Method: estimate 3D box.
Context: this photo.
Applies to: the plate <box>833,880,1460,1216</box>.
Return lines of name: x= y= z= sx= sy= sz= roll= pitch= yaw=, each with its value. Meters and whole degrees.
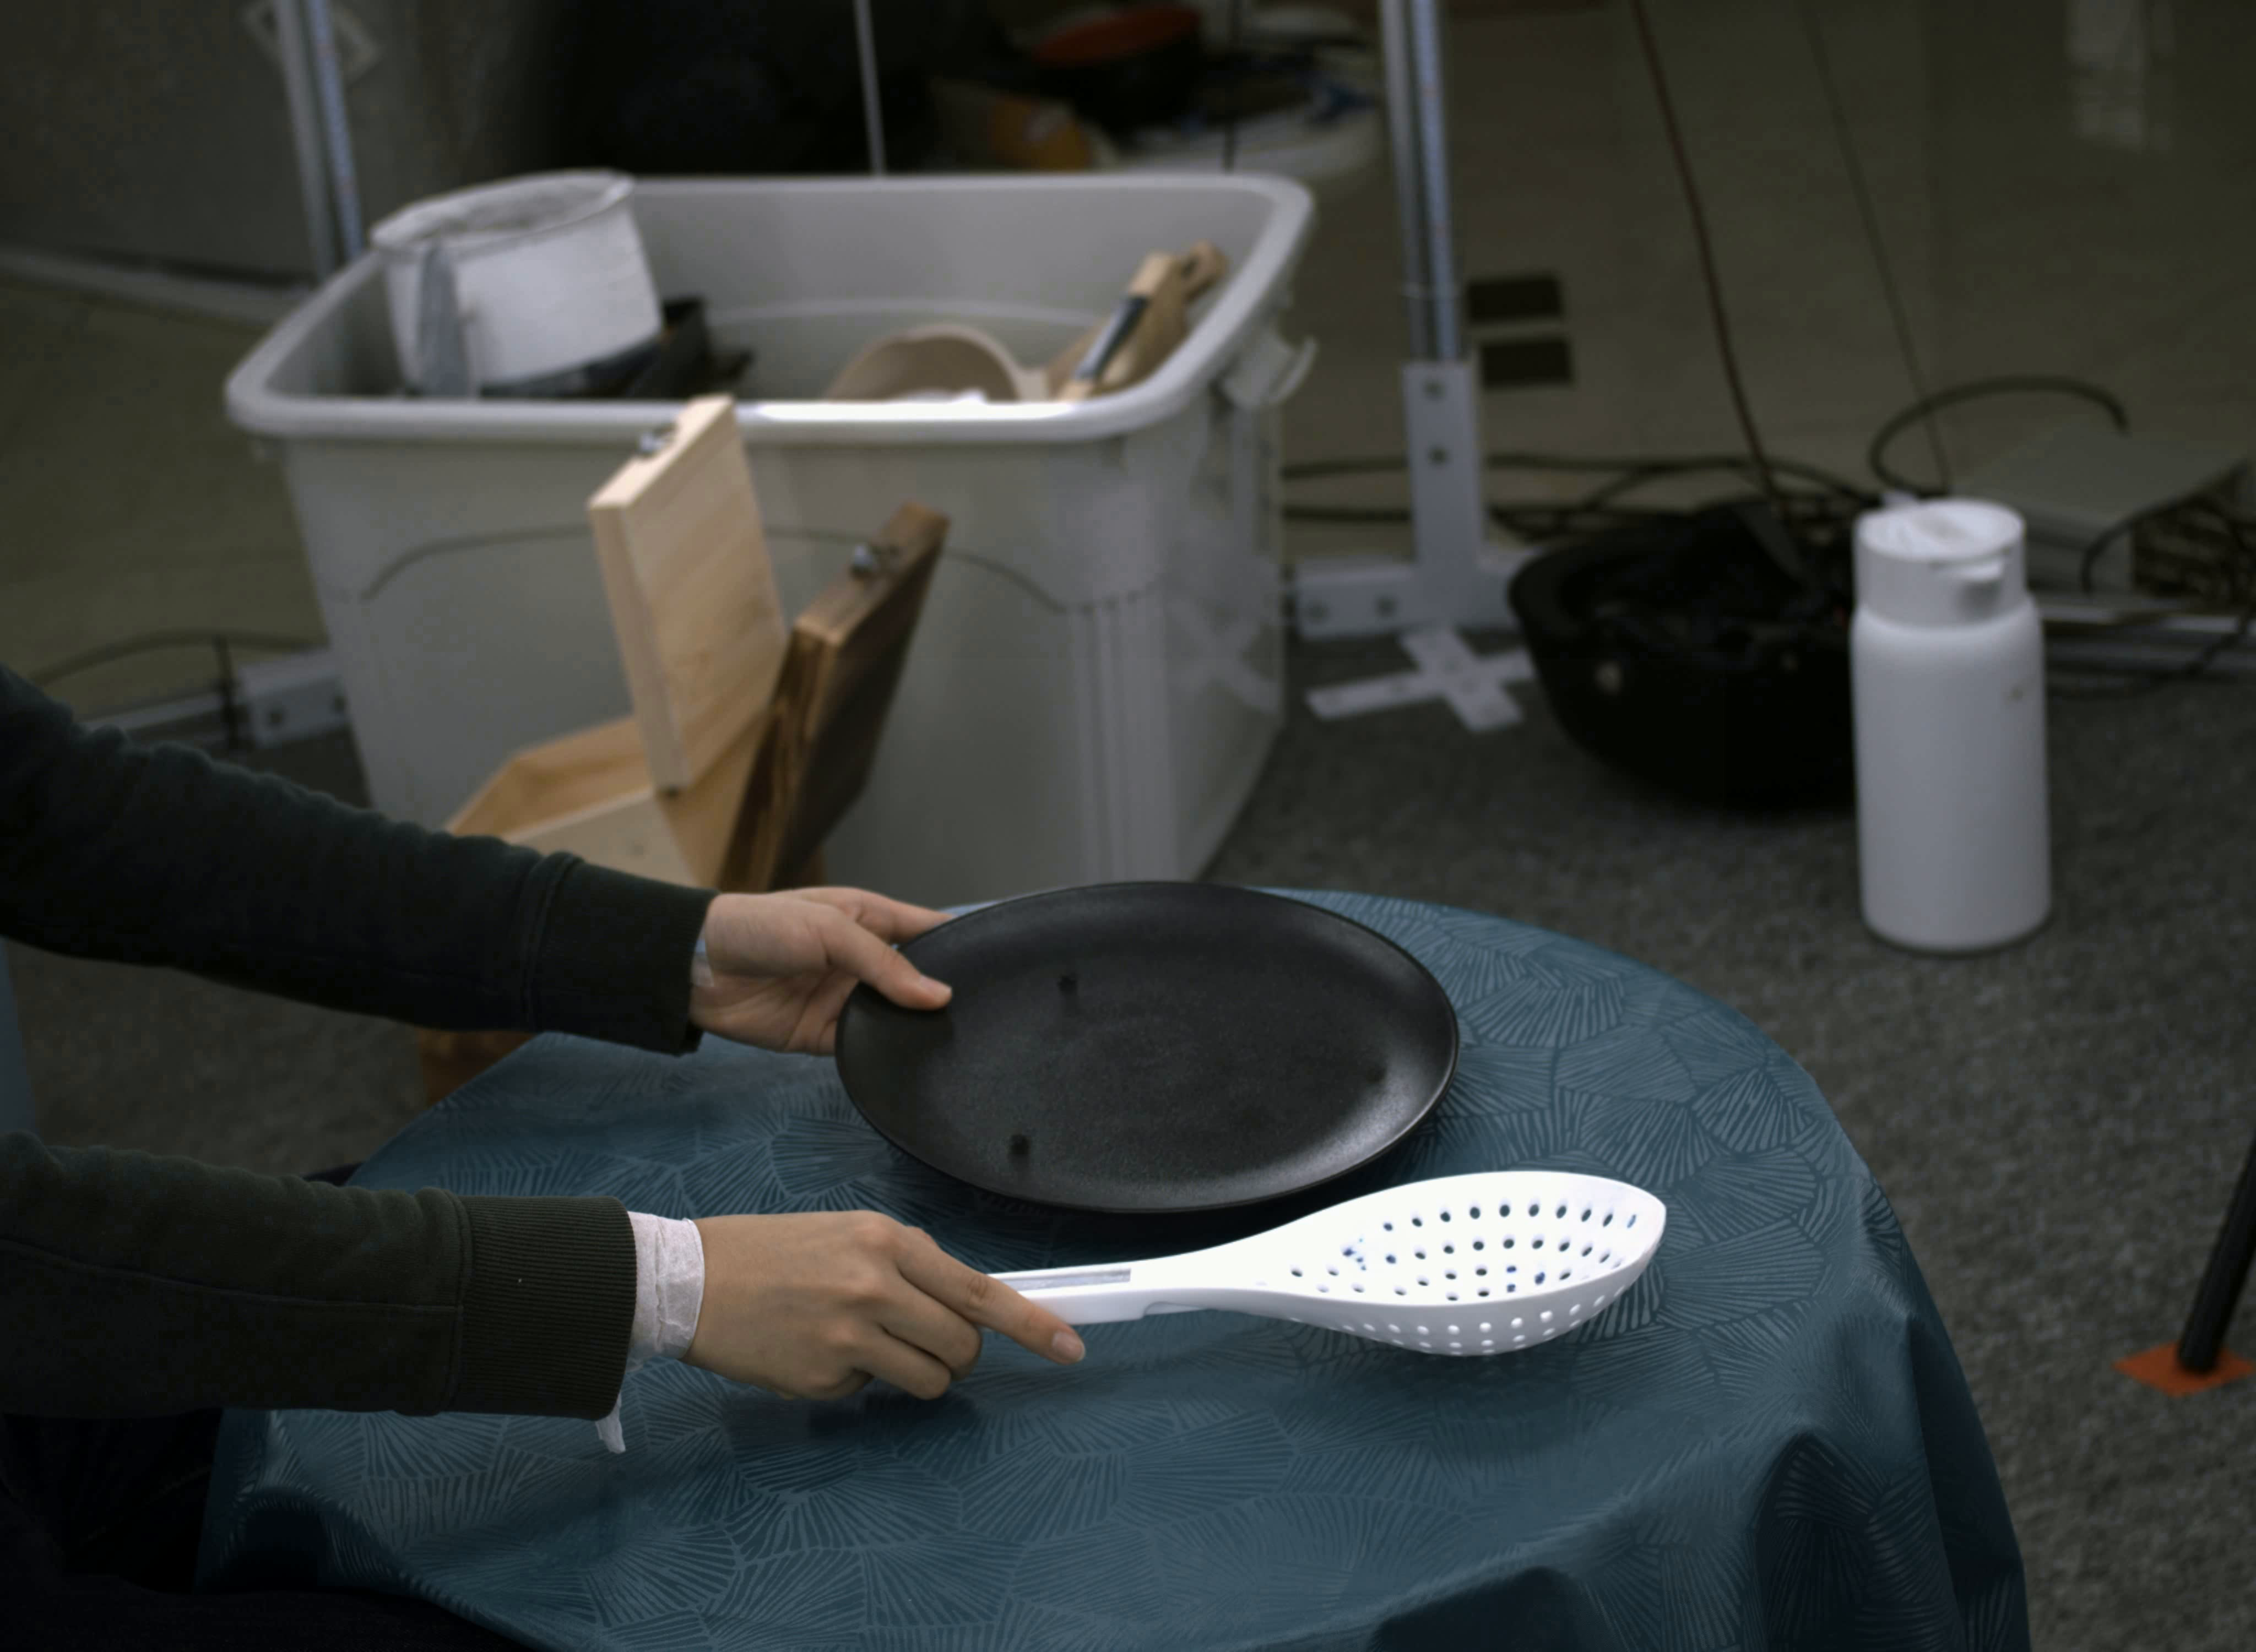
plate: x=0.007 y=0.091 z=2.200 sx=0.244 sy=0.024 sz=0.240 roll=0 pitch=30 yaw=0

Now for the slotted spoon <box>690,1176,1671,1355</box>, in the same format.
slotted spoon: x=0.018 y=0.163 z=2.020 sx=0.349 sy=0.046 sz=0.135 roll=-1 pitch=14 yaw=3
